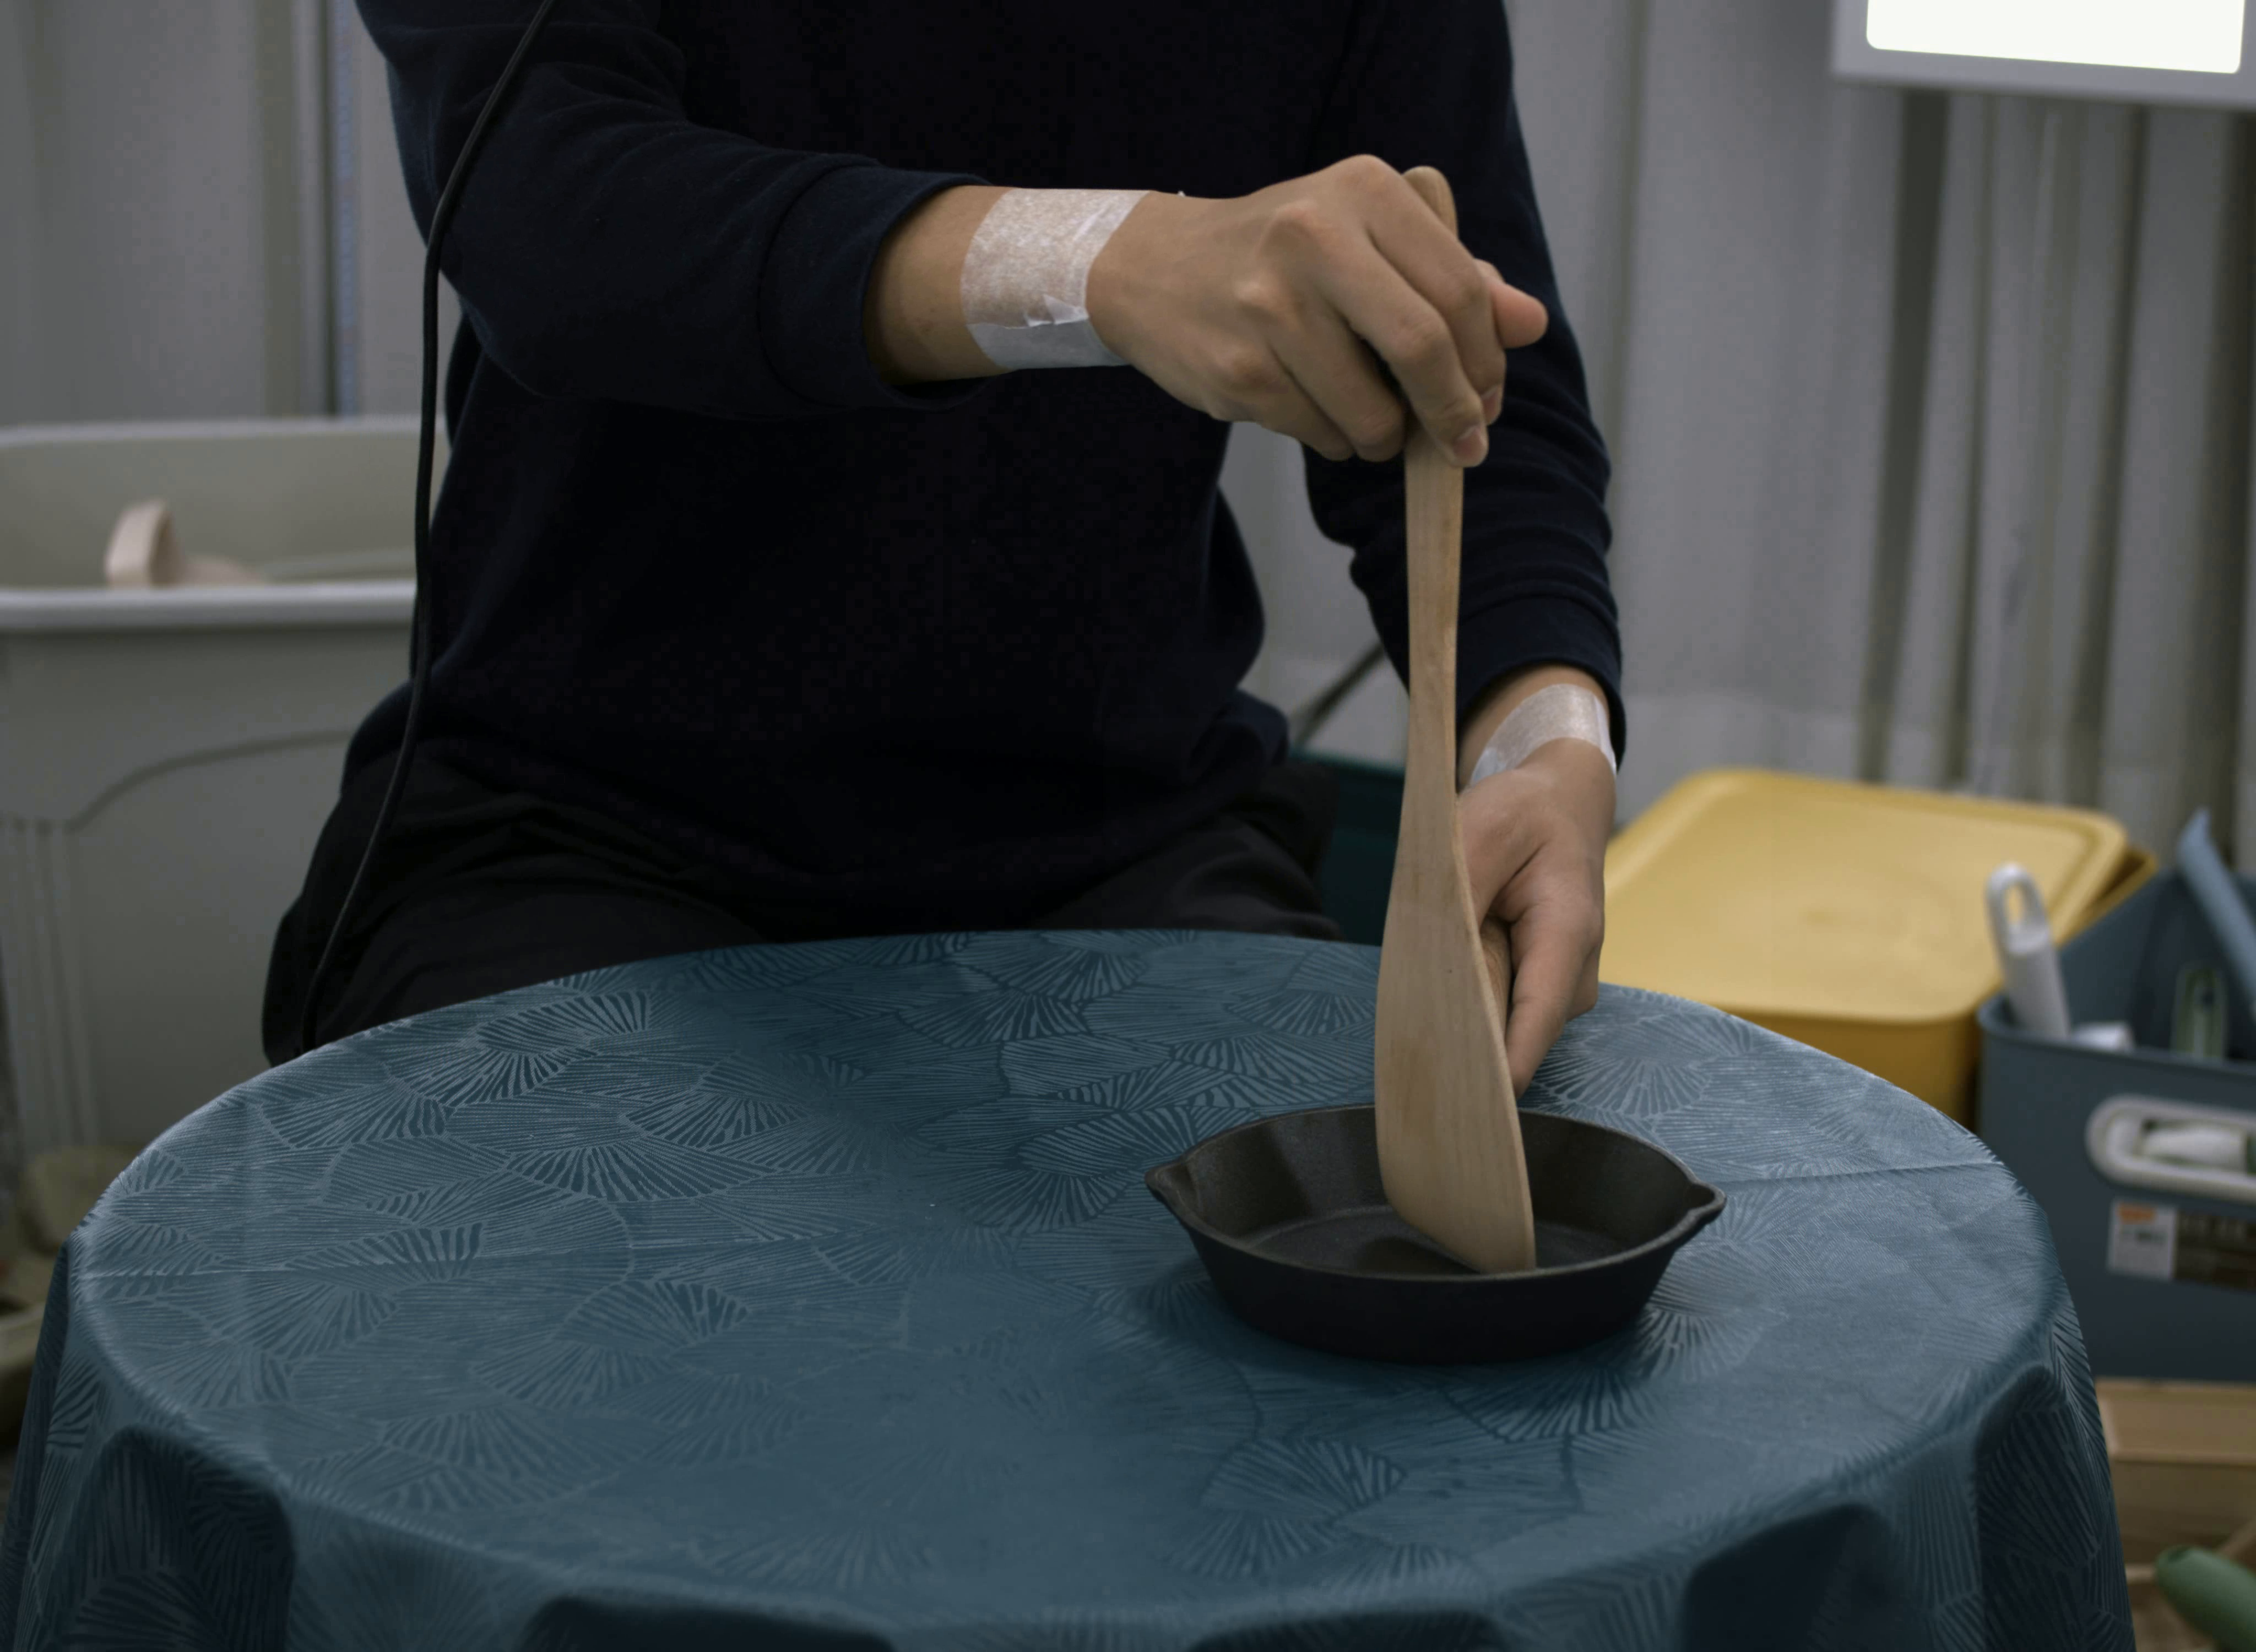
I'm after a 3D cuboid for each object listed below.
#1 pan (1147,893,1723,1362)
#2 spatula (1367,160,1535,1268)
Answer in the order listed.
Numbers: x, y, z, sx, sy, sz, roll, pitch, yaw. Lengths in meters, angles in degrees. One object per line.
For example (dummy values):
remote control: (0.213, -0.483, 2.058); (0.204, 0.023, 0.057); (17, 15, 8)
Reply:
pan: (0.101, 0.089, 1.615); (0.168, 0.050, 0.323); (3, 17, 8)
spatula: (0.090, -0.027, 1.525); (0.016, 0.329, 0.079); (-7, 10, -31)
